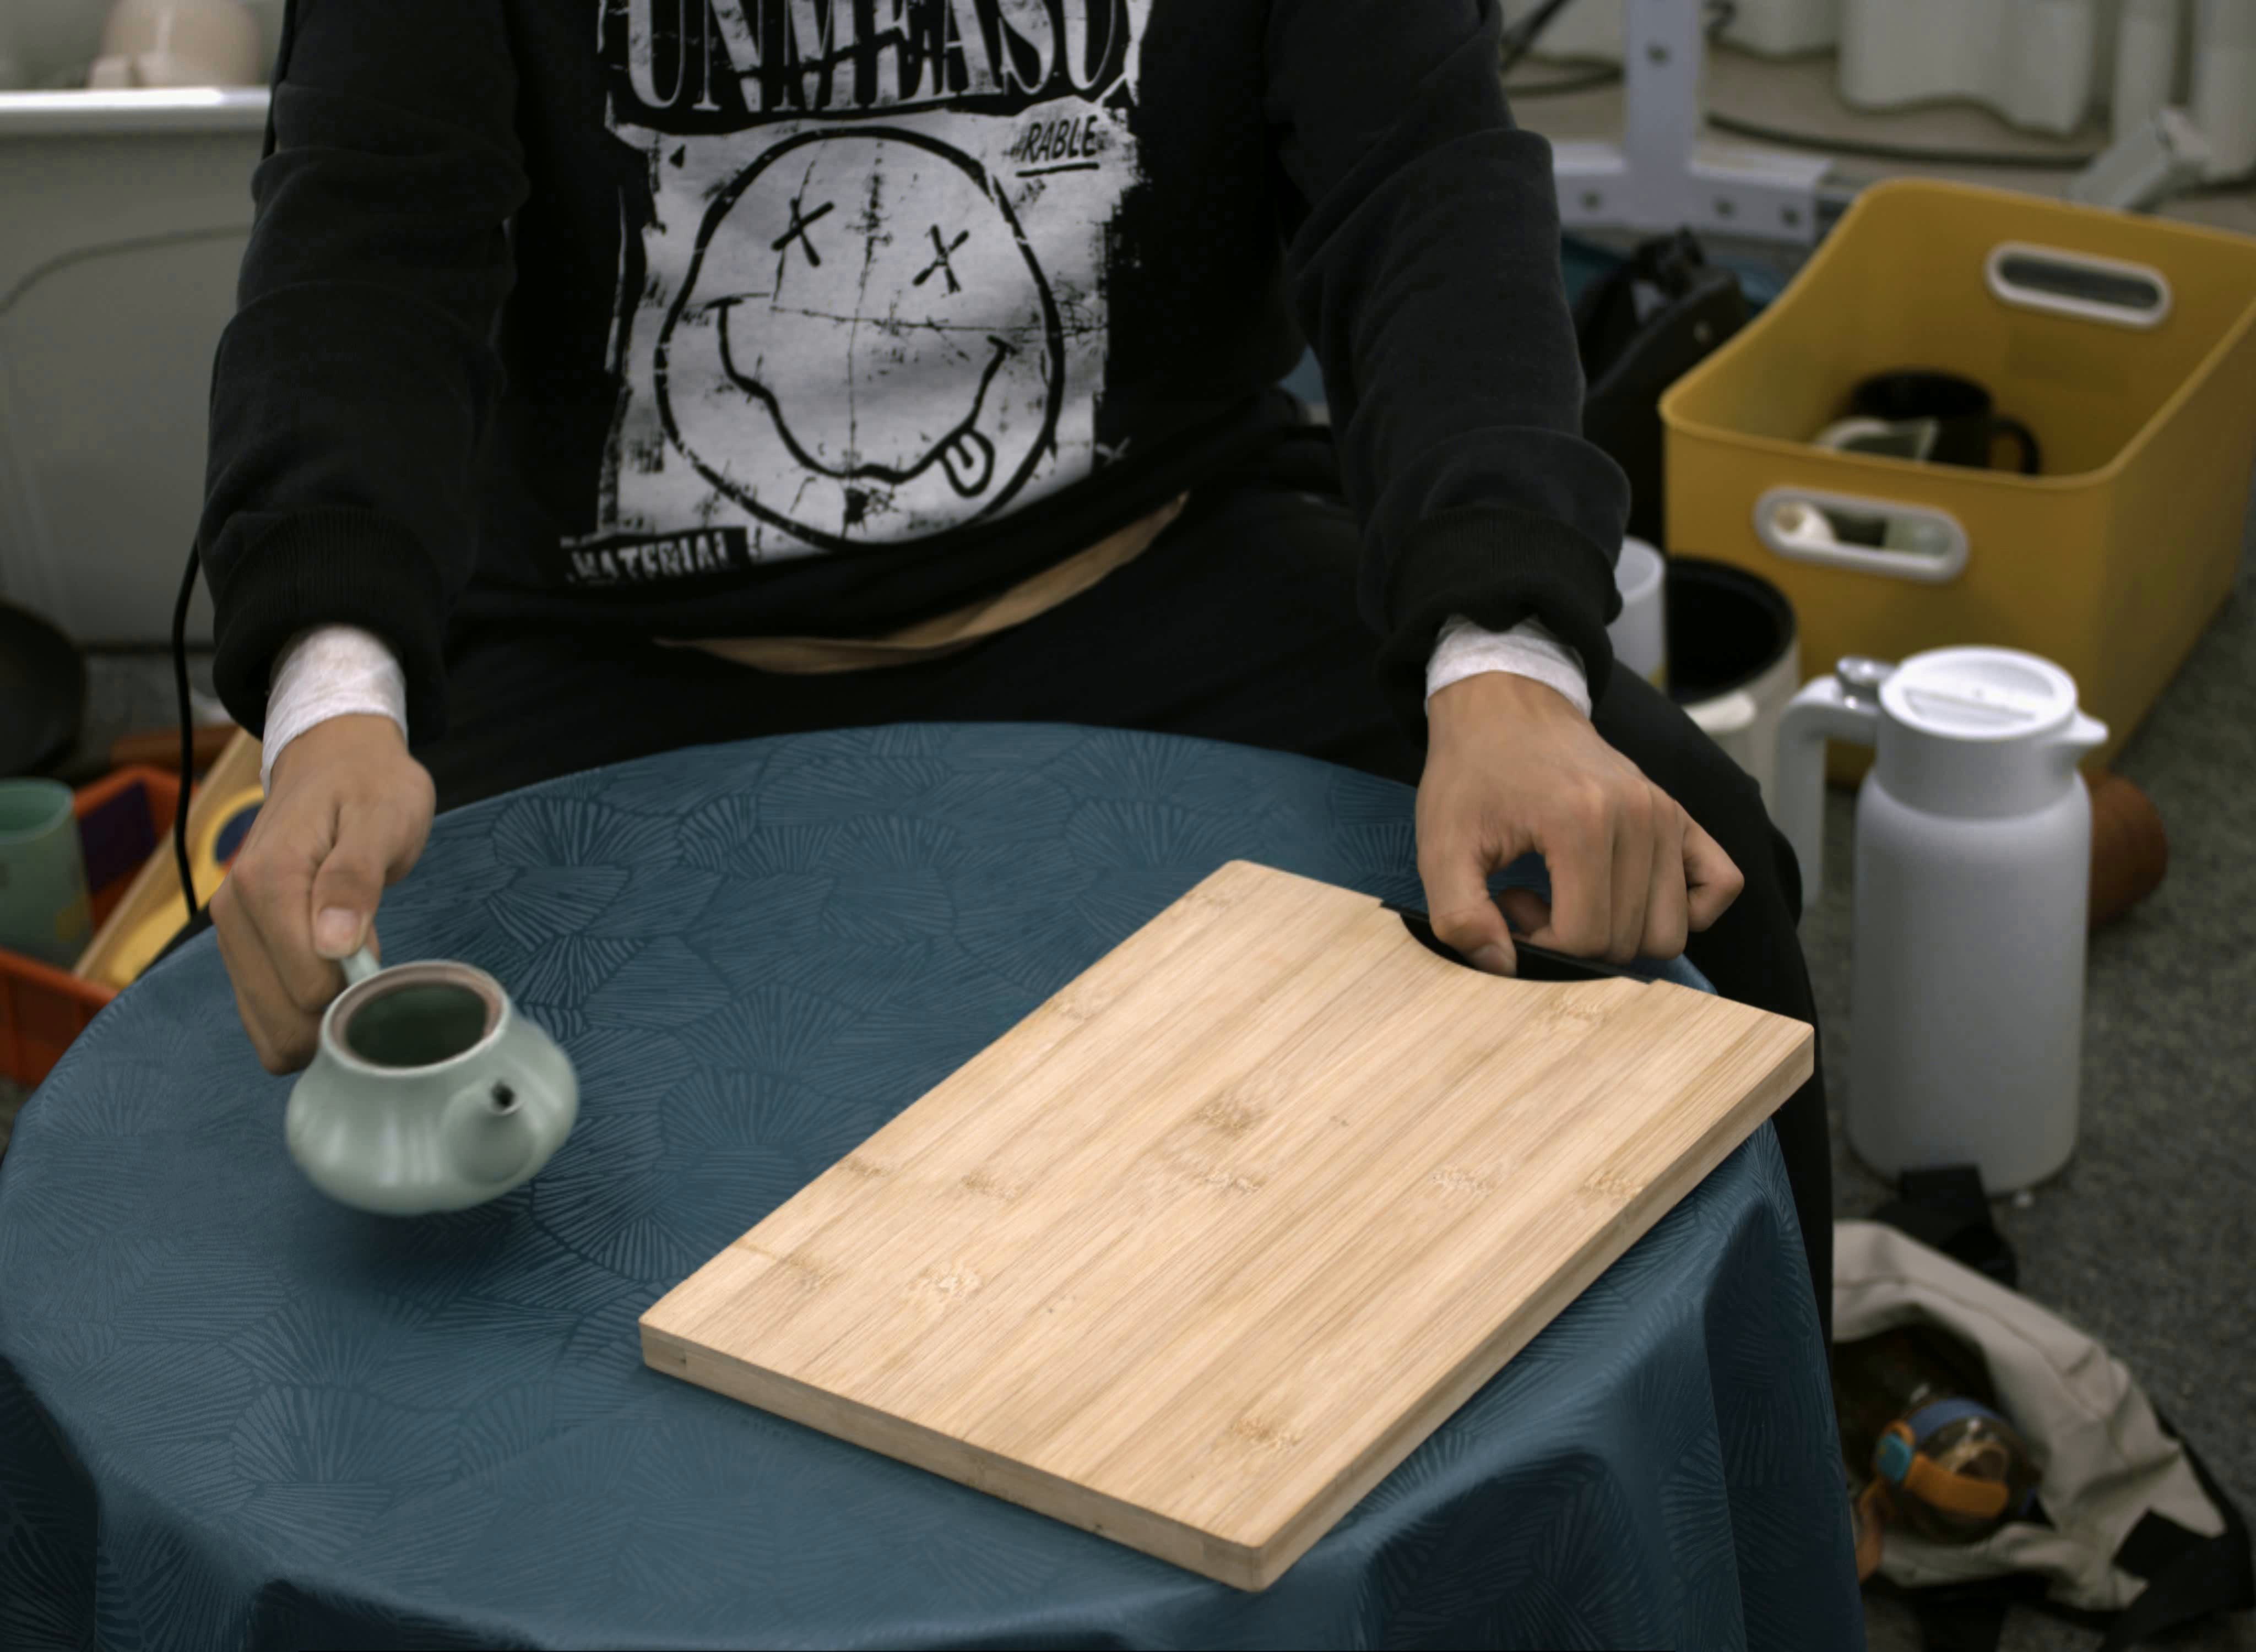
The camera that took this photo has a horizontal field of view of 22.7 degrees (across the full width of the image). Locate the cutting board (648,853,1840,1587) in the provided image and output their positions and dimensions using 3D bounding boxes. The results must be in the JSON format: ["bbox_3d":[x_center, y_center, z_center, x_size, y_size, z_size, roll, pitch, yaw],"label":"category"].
[{"bbox_3d":[0.042,0.117,1.837,0.249,0.023,0.354,15,34,31],"label":"cutting board"}]

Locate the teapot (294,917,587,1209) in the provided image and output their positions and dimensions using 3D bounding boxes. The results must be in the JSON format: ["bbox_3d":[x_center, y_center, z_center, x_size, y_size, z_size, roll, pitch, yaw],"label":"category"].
[{"bbox_3d":[-0.229,0.079,1.840,0.097,0.060,0.137,-28,42,-29],"label":"teapot"}]
